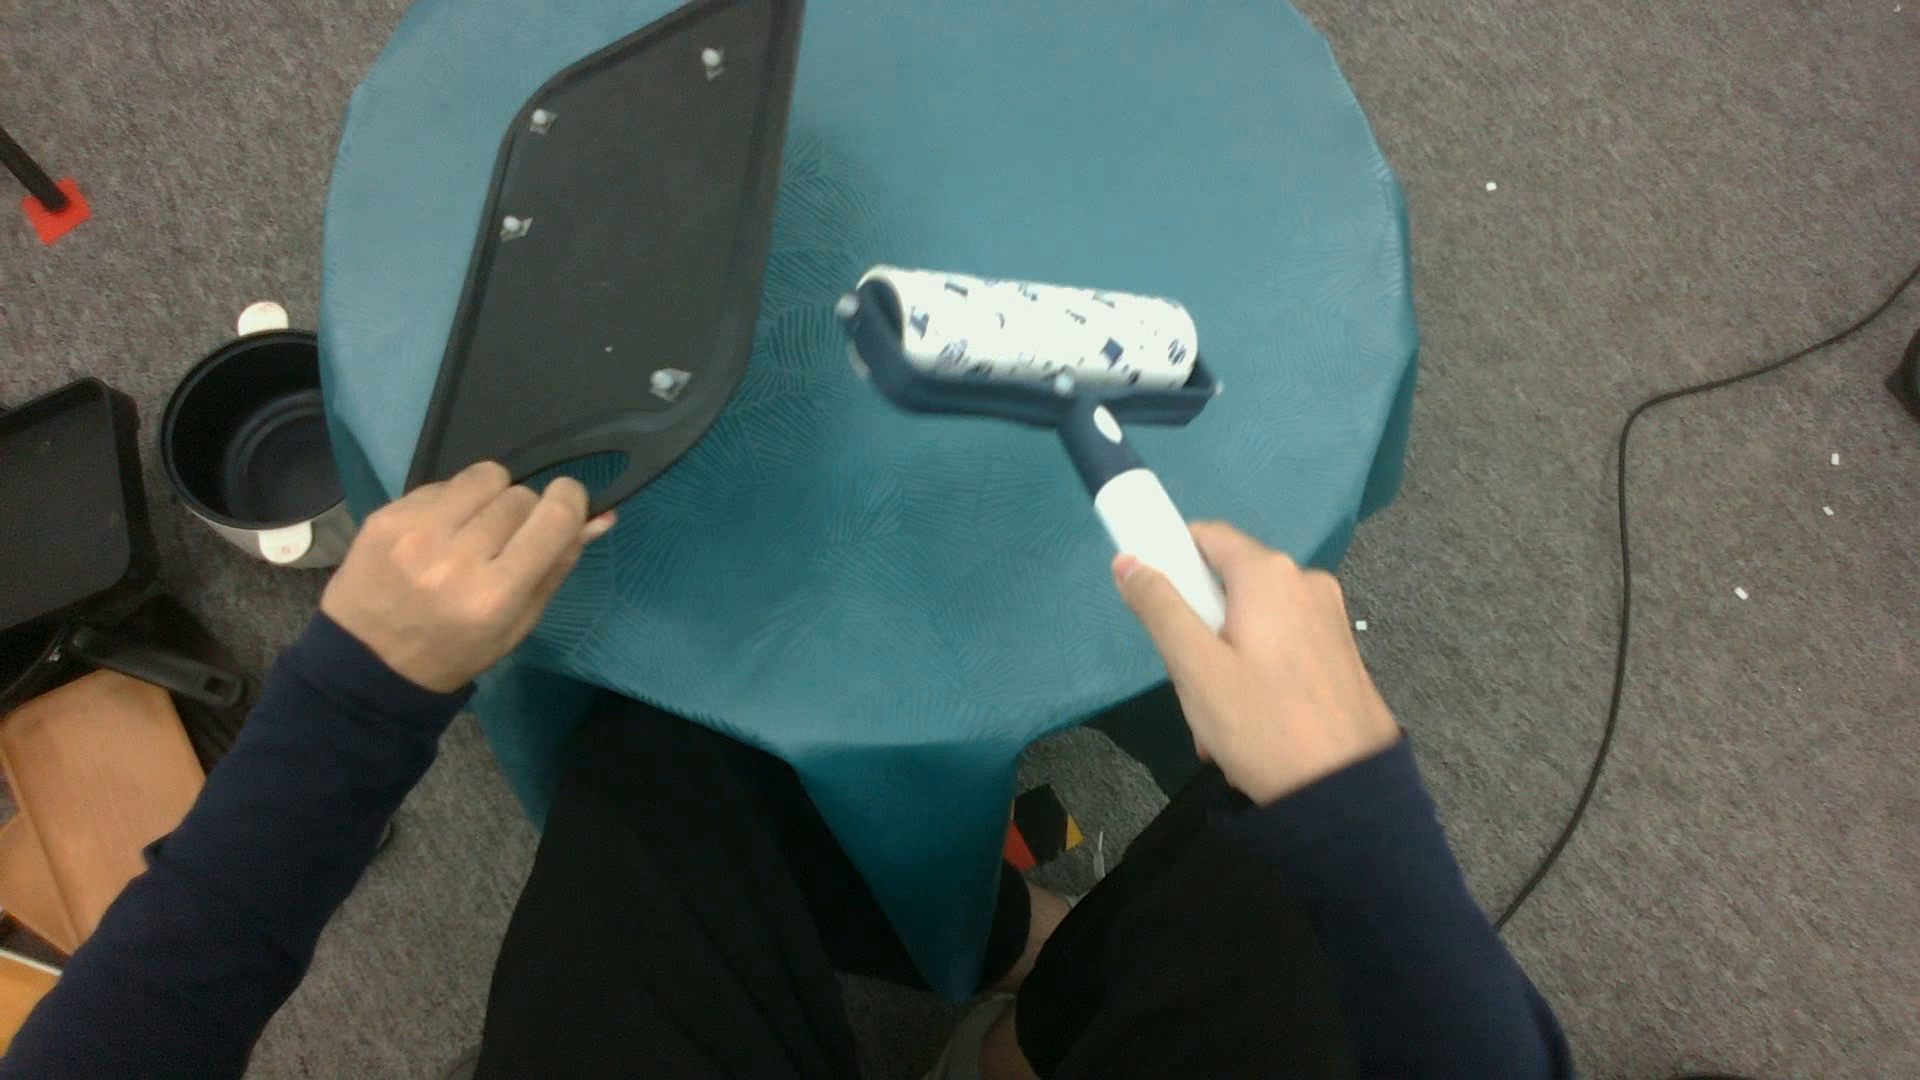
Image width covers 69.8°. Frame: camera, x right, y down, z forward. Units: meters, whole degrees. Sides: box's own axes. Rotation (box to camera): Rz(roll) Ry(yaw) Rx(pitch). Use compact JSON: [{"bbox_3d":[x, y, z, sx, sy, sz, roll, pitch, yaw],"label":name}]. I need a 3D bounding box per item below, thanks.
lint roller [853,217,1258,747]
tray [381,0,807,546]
[{"bbox_3d":[0.069,-0.031,0.569,0.177,0.050,0.247,1,52,-36],"label":"lint roller"},{"bbox_3d":[-0.173,-0.142,0.656,0.210,0.010,0.327,-12,55,24],"label":"tray"}]
